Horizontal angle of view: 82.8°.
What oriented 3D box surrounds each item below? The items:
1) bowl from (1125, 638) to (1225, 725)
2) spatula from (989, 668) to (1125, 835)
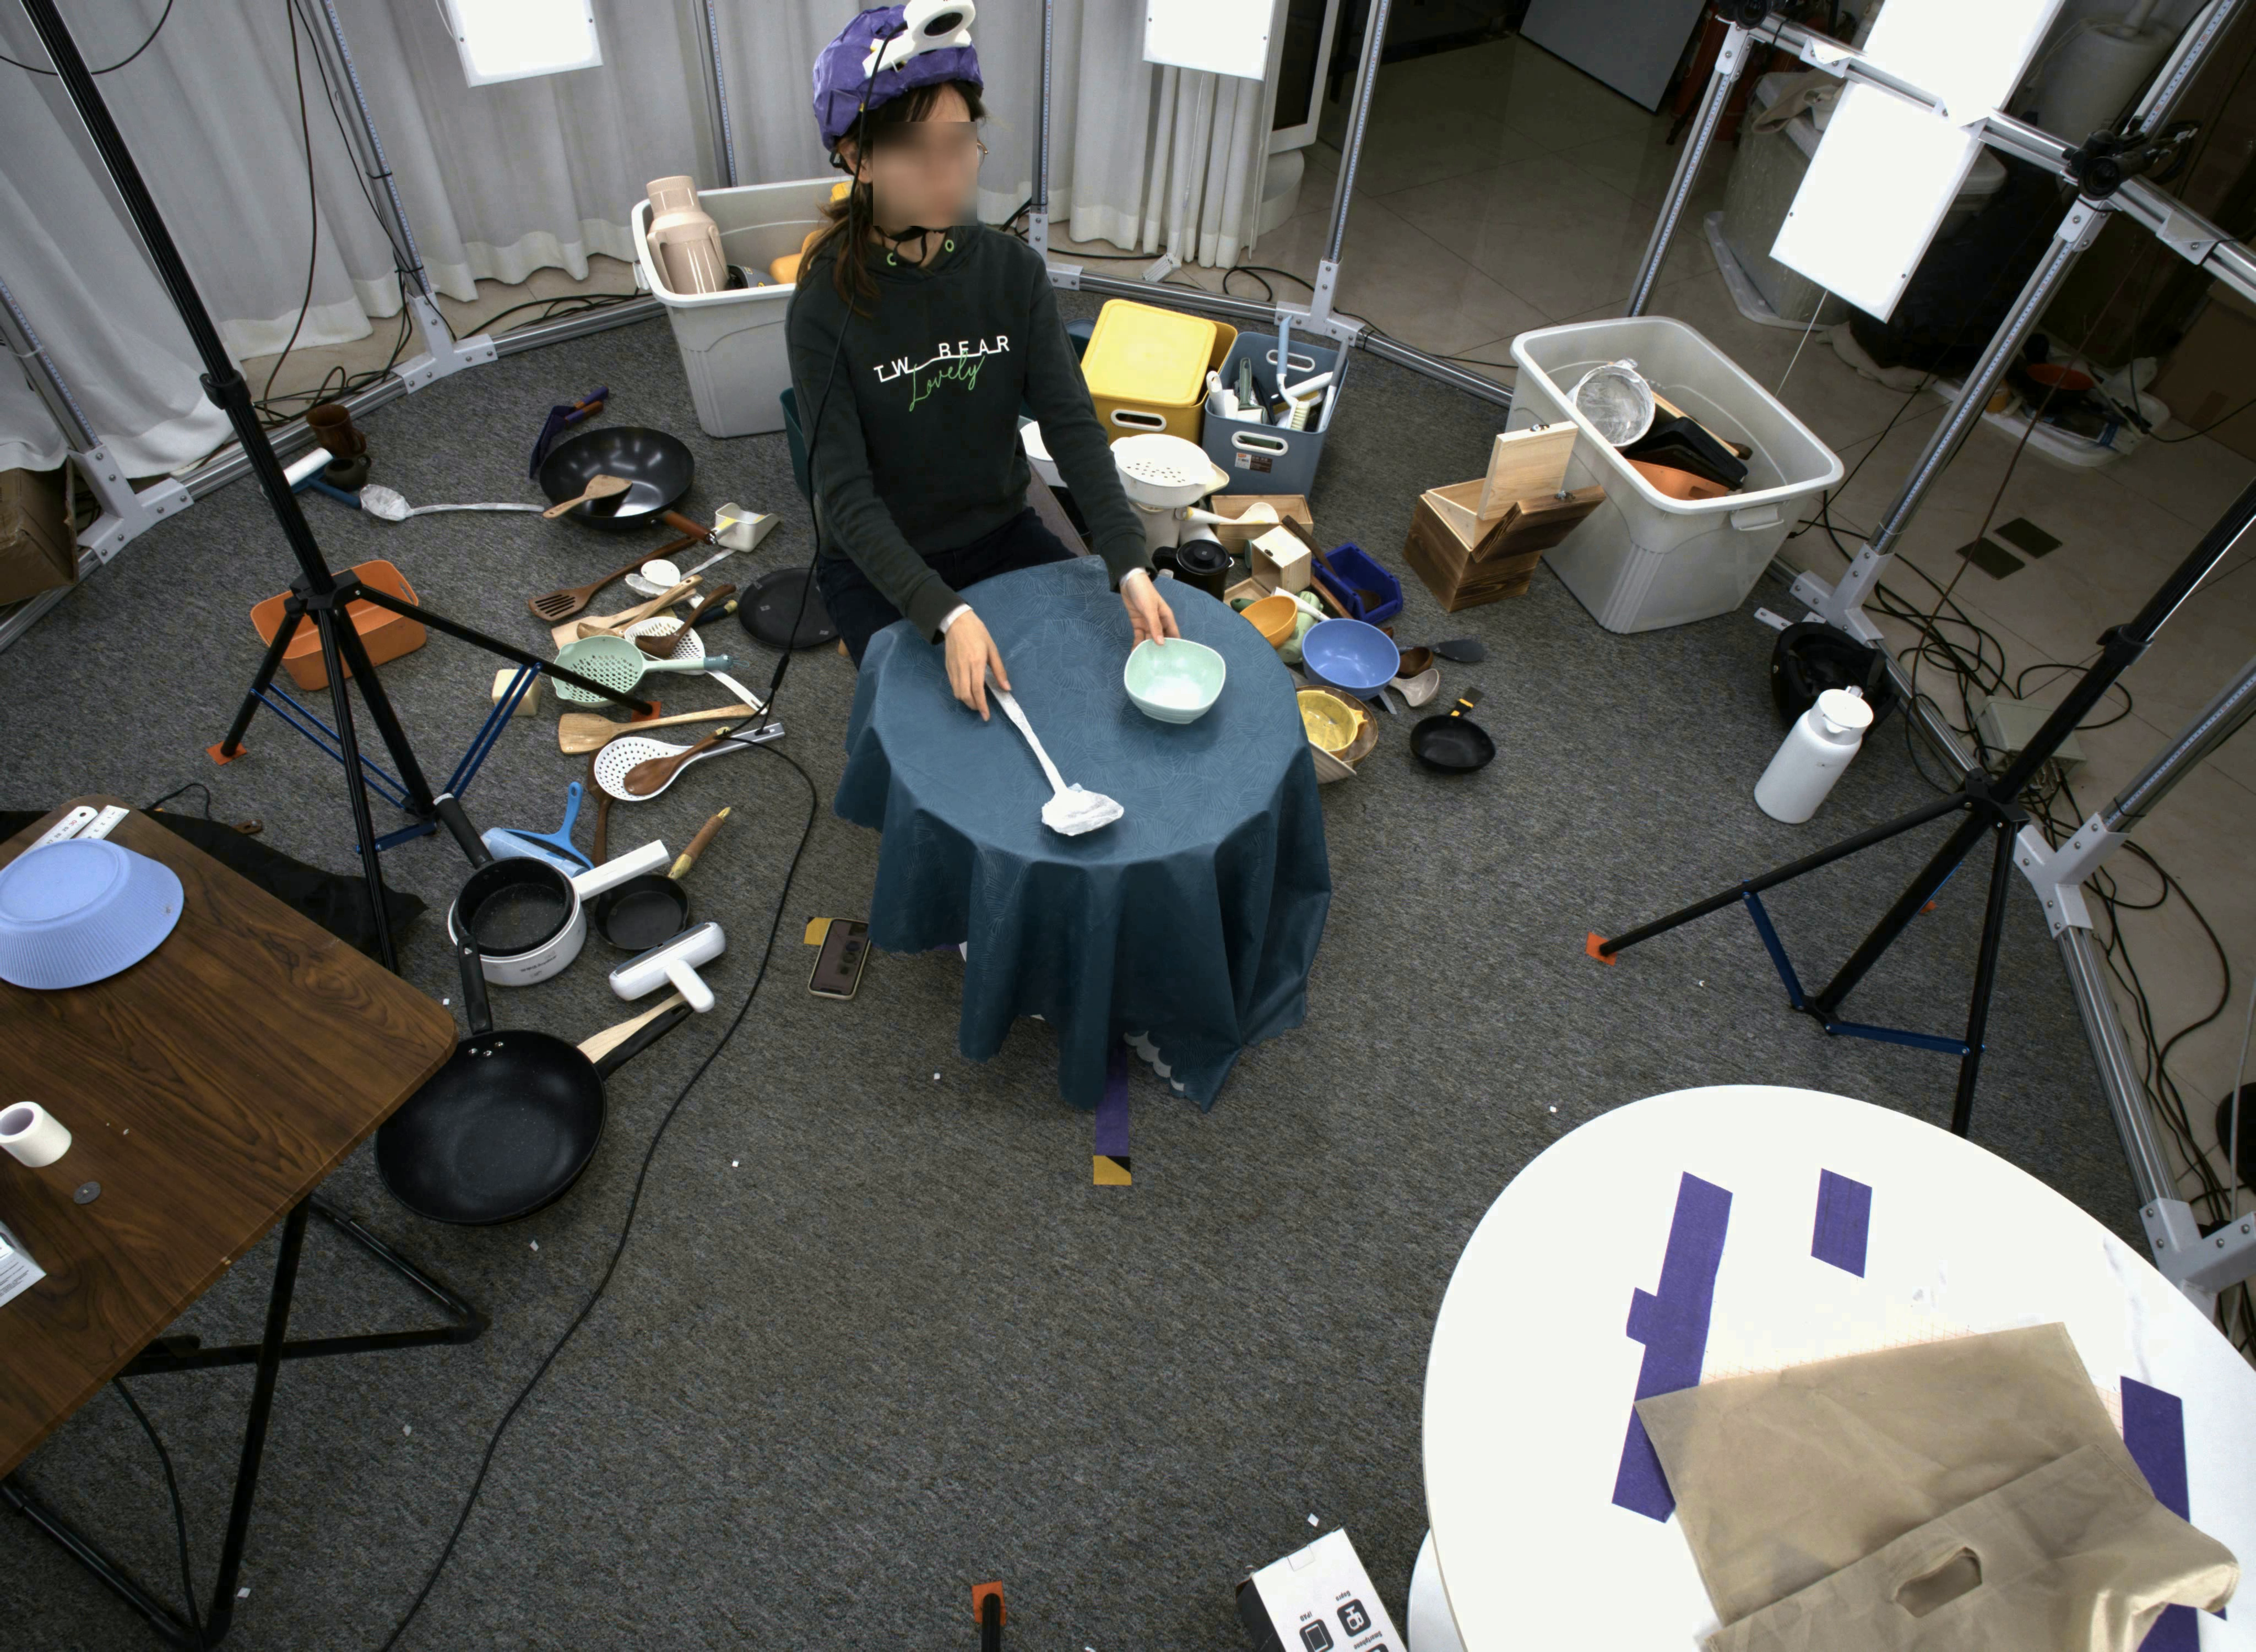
[{"bbox_3d":[0.064,-0.196,1.824,0.151,0.057,0.155,3,51,-4],"label":"bowl"},{"bbox_3d":[-0.120,-0.112,1.748,0.099,0.043,0.373,-19,53,-18],"label":"spatula"}]
